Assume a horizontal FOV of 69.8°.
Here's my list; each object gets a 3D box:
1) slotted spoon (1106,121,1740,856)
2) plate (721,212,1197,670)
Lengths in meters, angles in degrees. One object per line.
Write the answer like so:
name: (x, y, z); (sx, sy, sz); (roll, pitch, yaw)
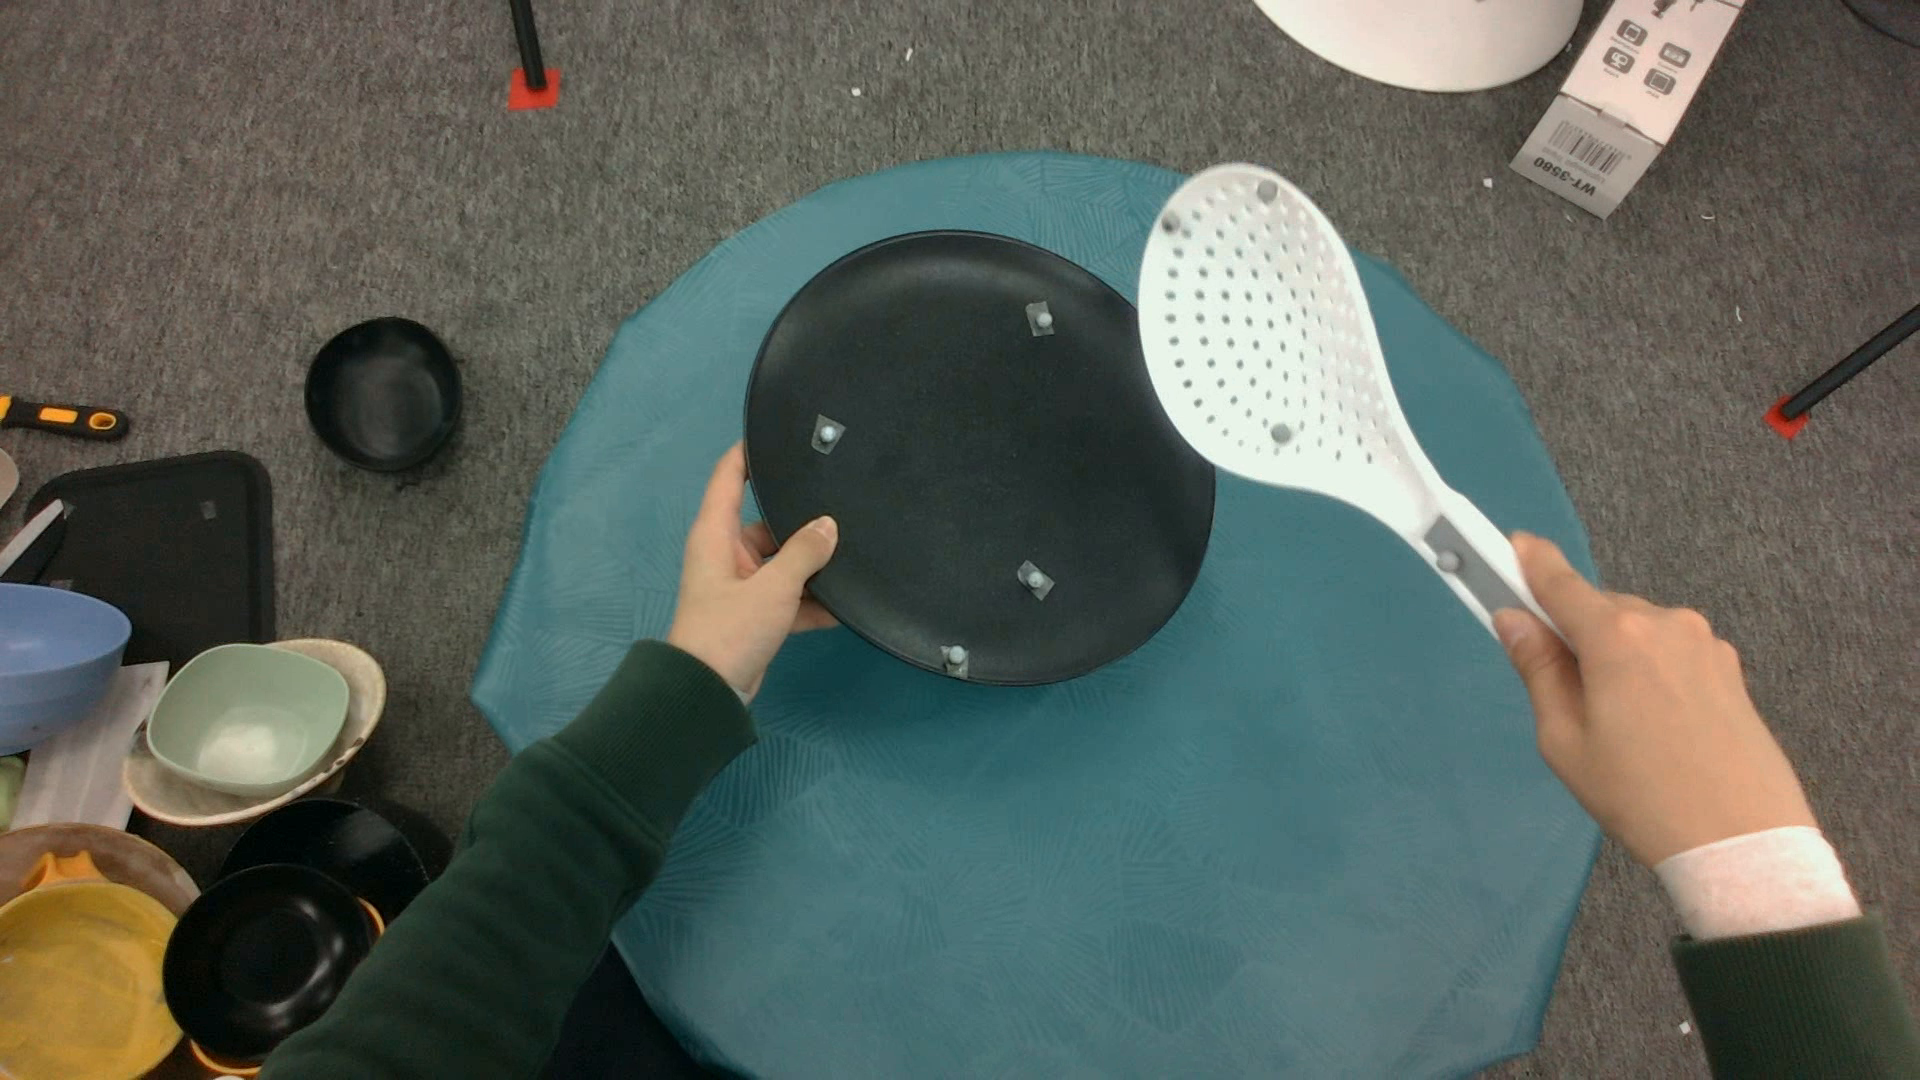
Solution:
slotted spoon: (0.165, -0.030, 0.537); (0.046, 0.135, 0.350); (-13, 56, -27)
plate: (0.003, -0.052, 0.680); (0.244, 0.023, 0.245); (7, 68, -17)
